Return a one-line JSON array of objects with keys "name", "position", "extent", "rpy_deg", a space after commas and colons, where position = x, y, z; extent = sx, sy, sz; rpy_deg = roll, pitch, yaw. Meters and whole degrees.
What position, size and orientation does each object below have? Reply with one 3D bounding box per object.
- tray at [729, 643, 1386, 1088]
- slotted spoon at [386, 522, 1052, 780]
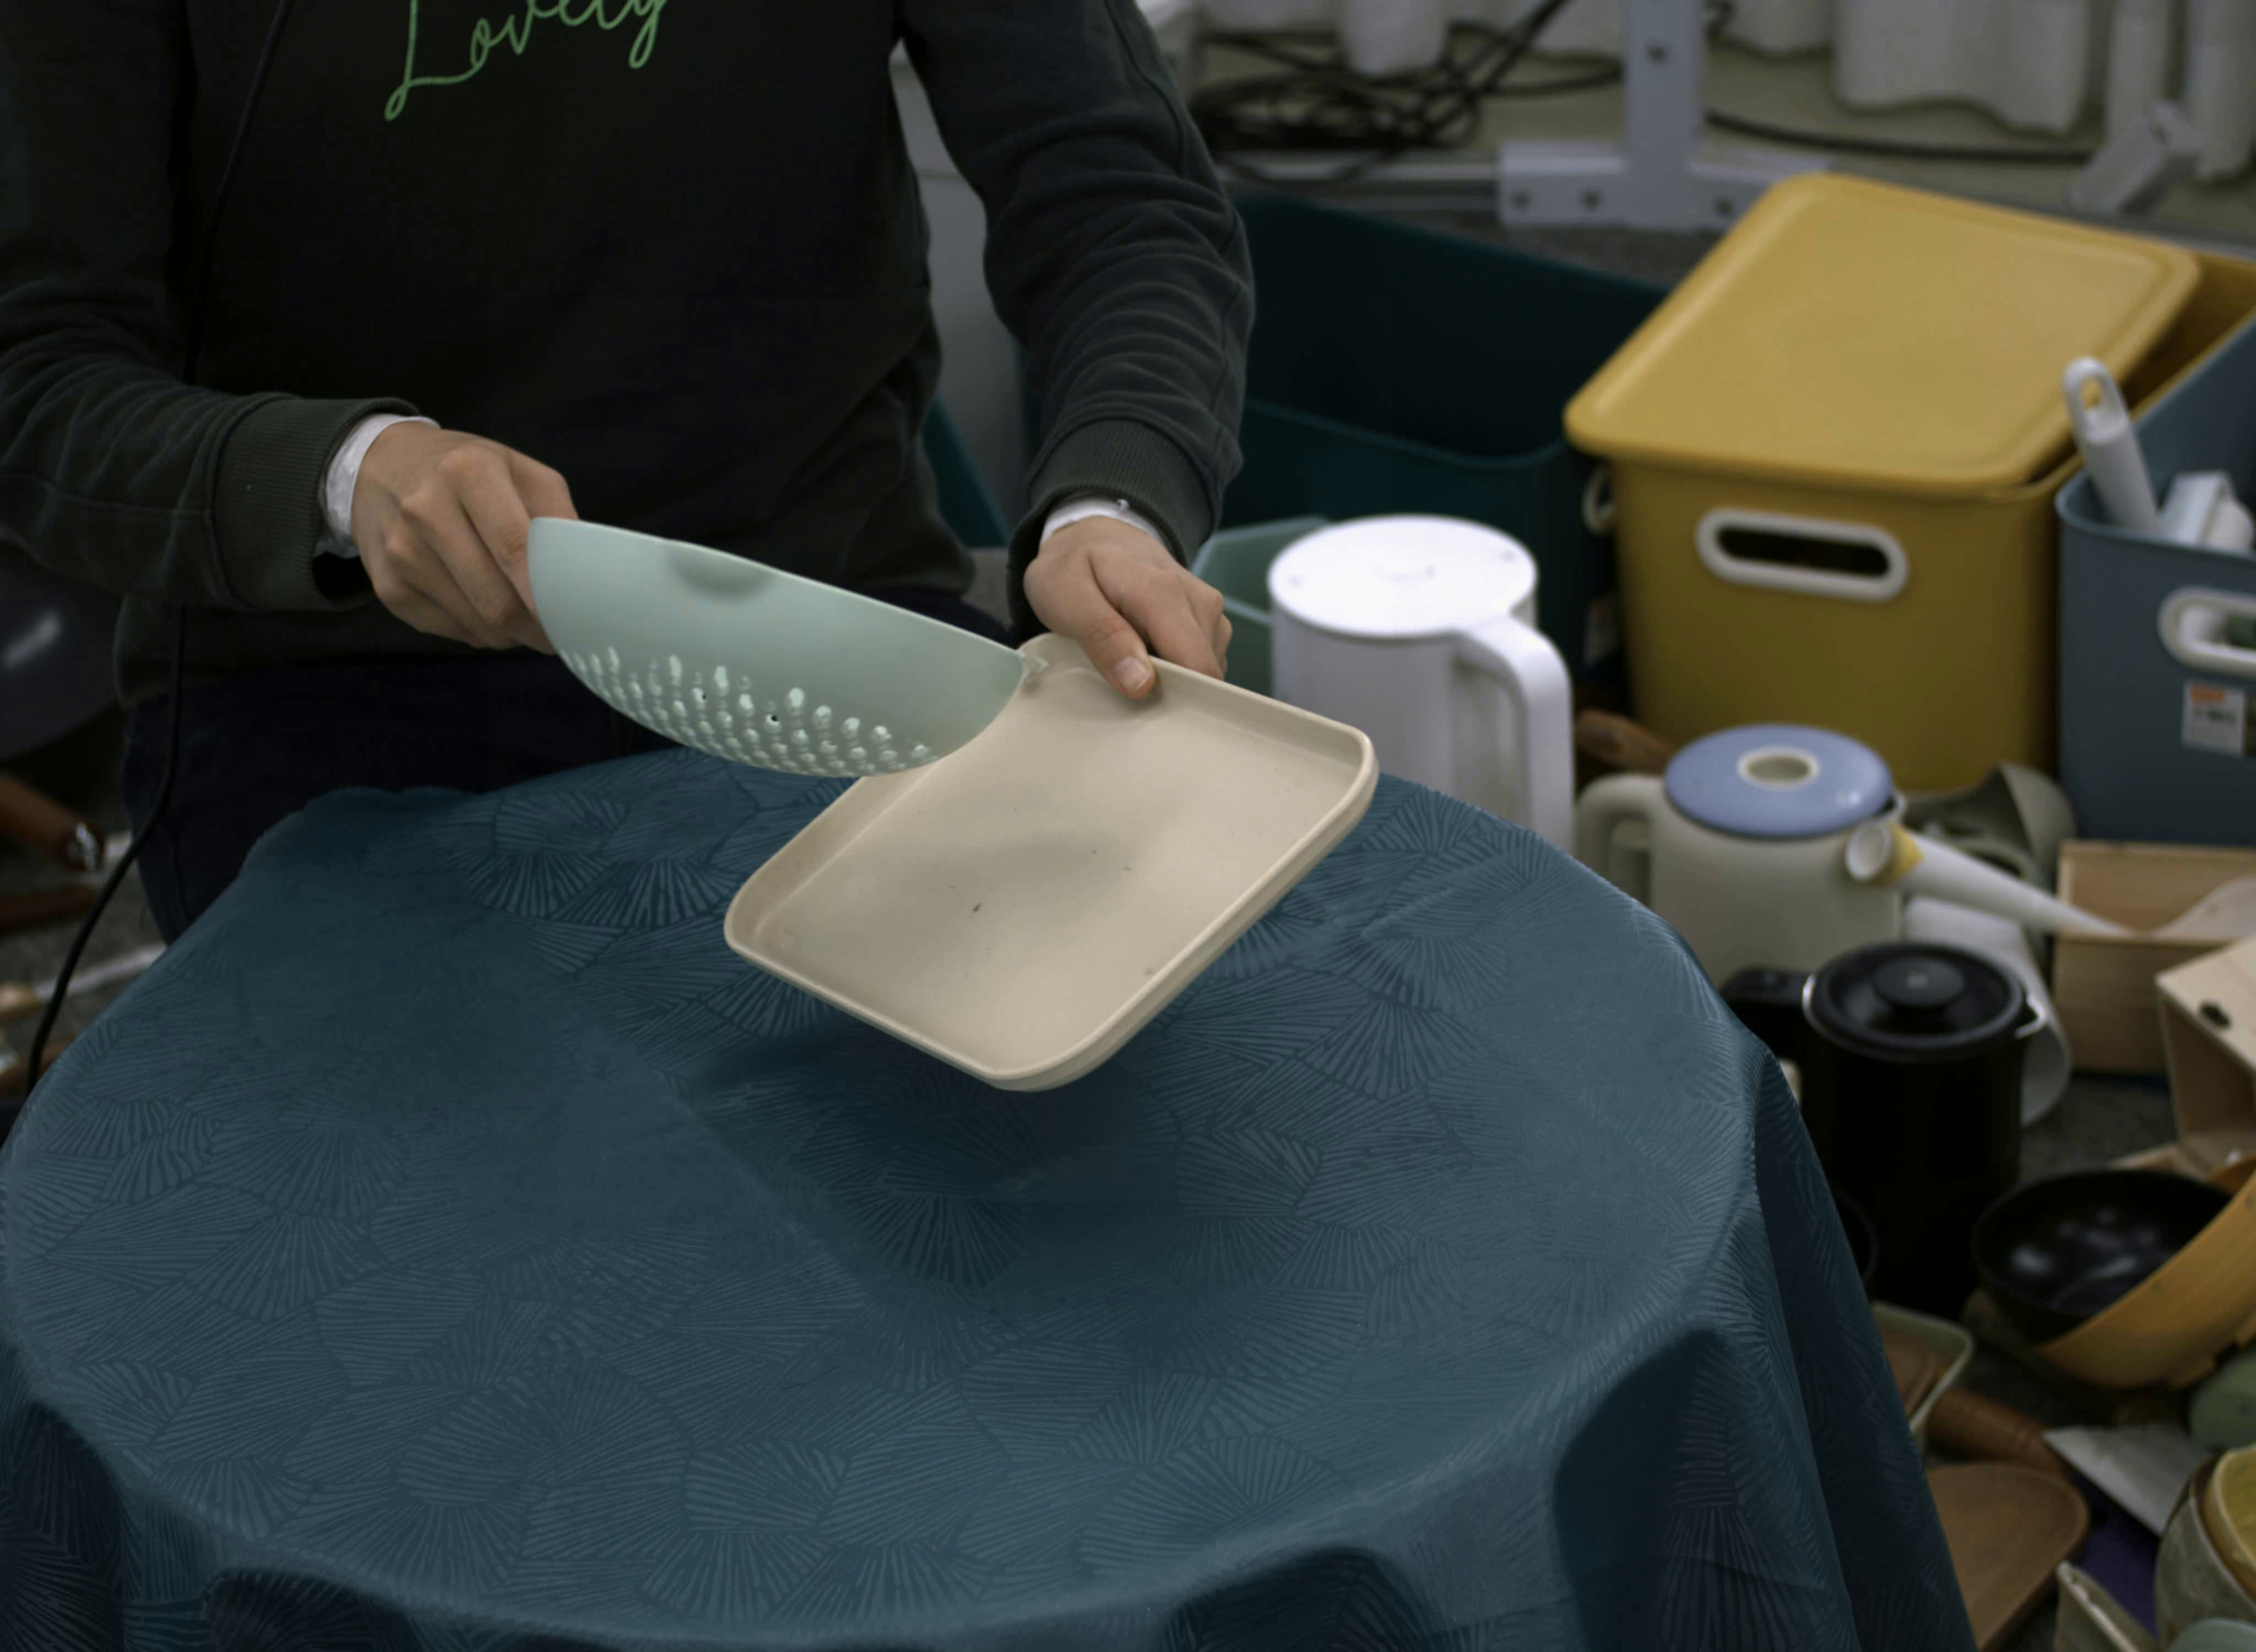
[{"name": "tray", "position": [-0.025, 0.012, 1.871], "extent": [0.173, 0.017, 0.239], "rpy_deg": [-42, 28, -17]}, {"name": "slotted spoon", "position": [-0.168, -0.070, 1.911], "extent": [0.169, 0.075, 0.358], "rpy_deg": [19, 2, -32]}]
